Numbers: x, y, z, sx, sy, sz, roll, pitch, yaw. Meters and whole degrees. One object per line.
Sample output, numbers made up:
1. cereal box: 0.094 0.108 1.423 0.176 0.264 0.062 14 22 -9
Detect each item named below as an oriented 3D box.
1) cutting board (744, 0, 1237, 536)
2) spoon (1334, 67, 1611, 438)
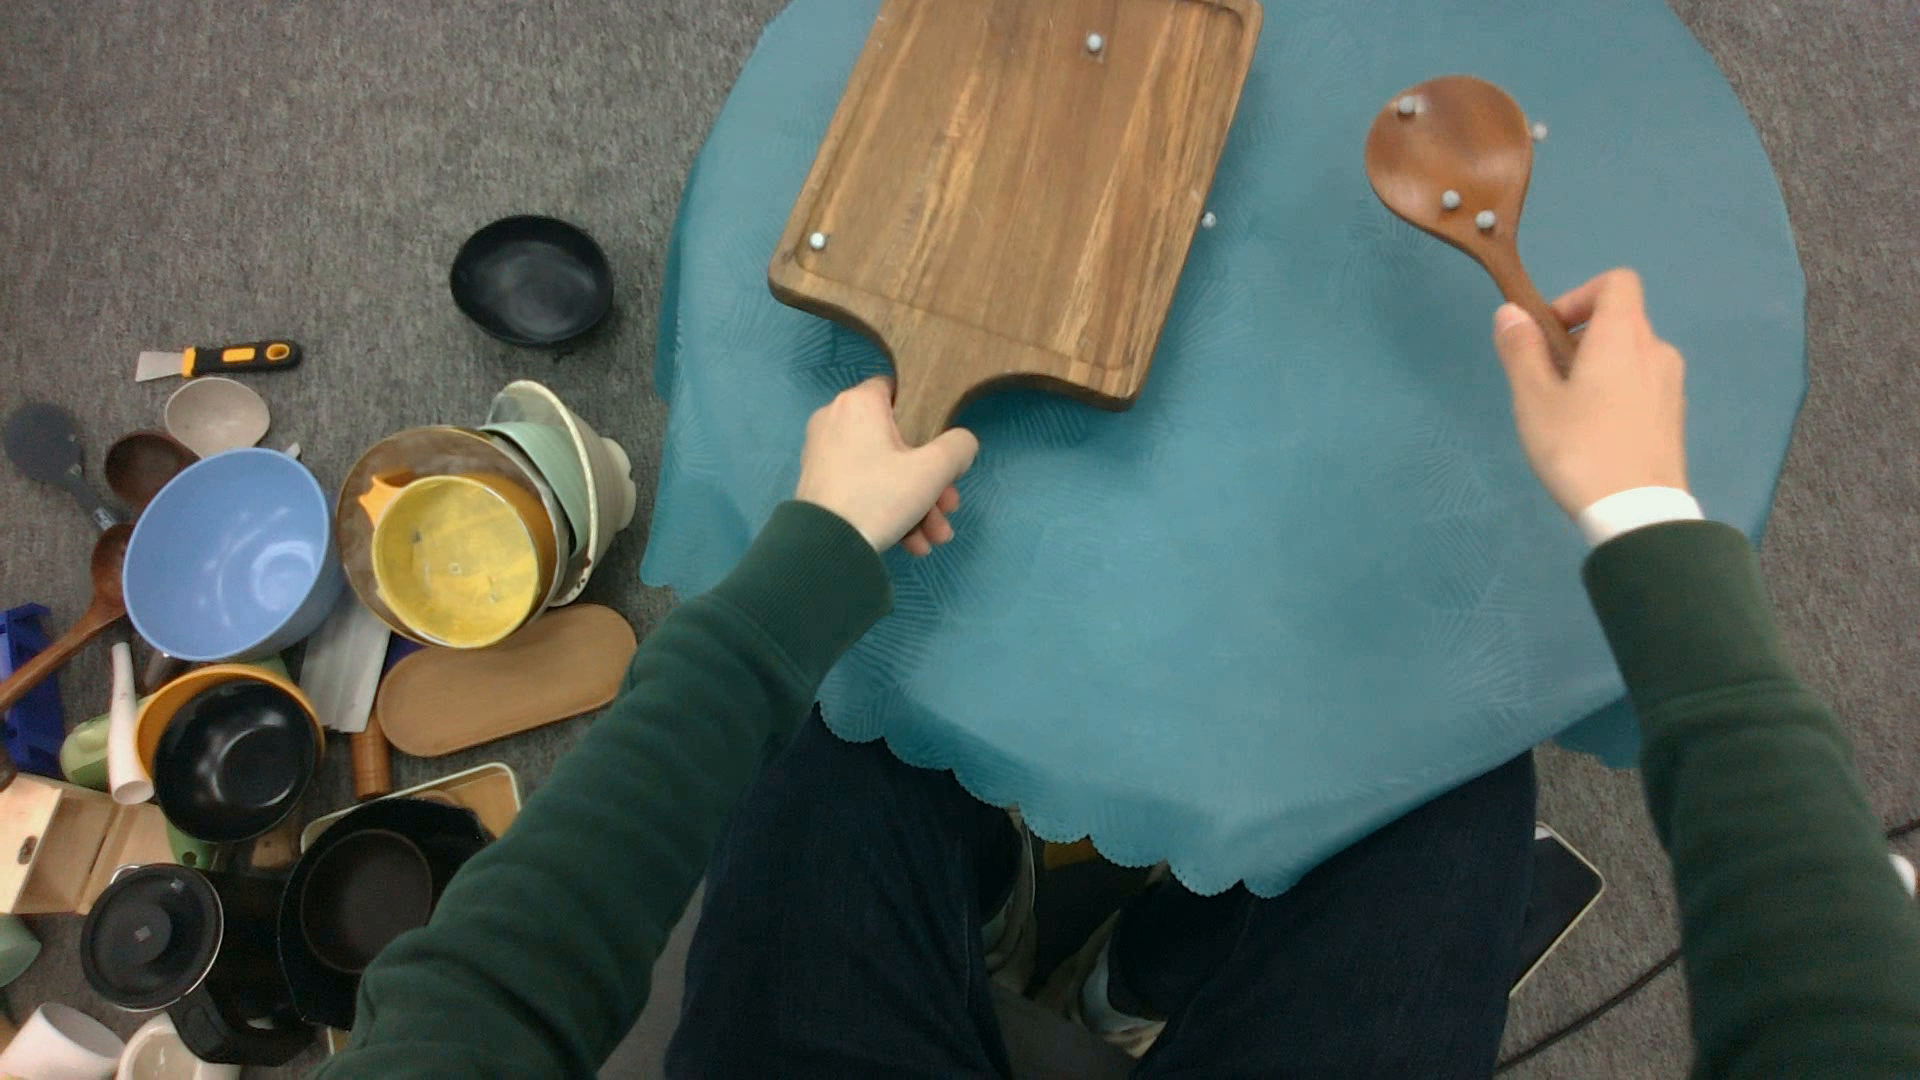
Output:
1. cutting board: 0.006 -0.166 0.700 0.201 0.023 0.353 19 72 1
2. spoon: 0.230 -0.133 0.612 0.075 0.017 0.216 -21 57 10
